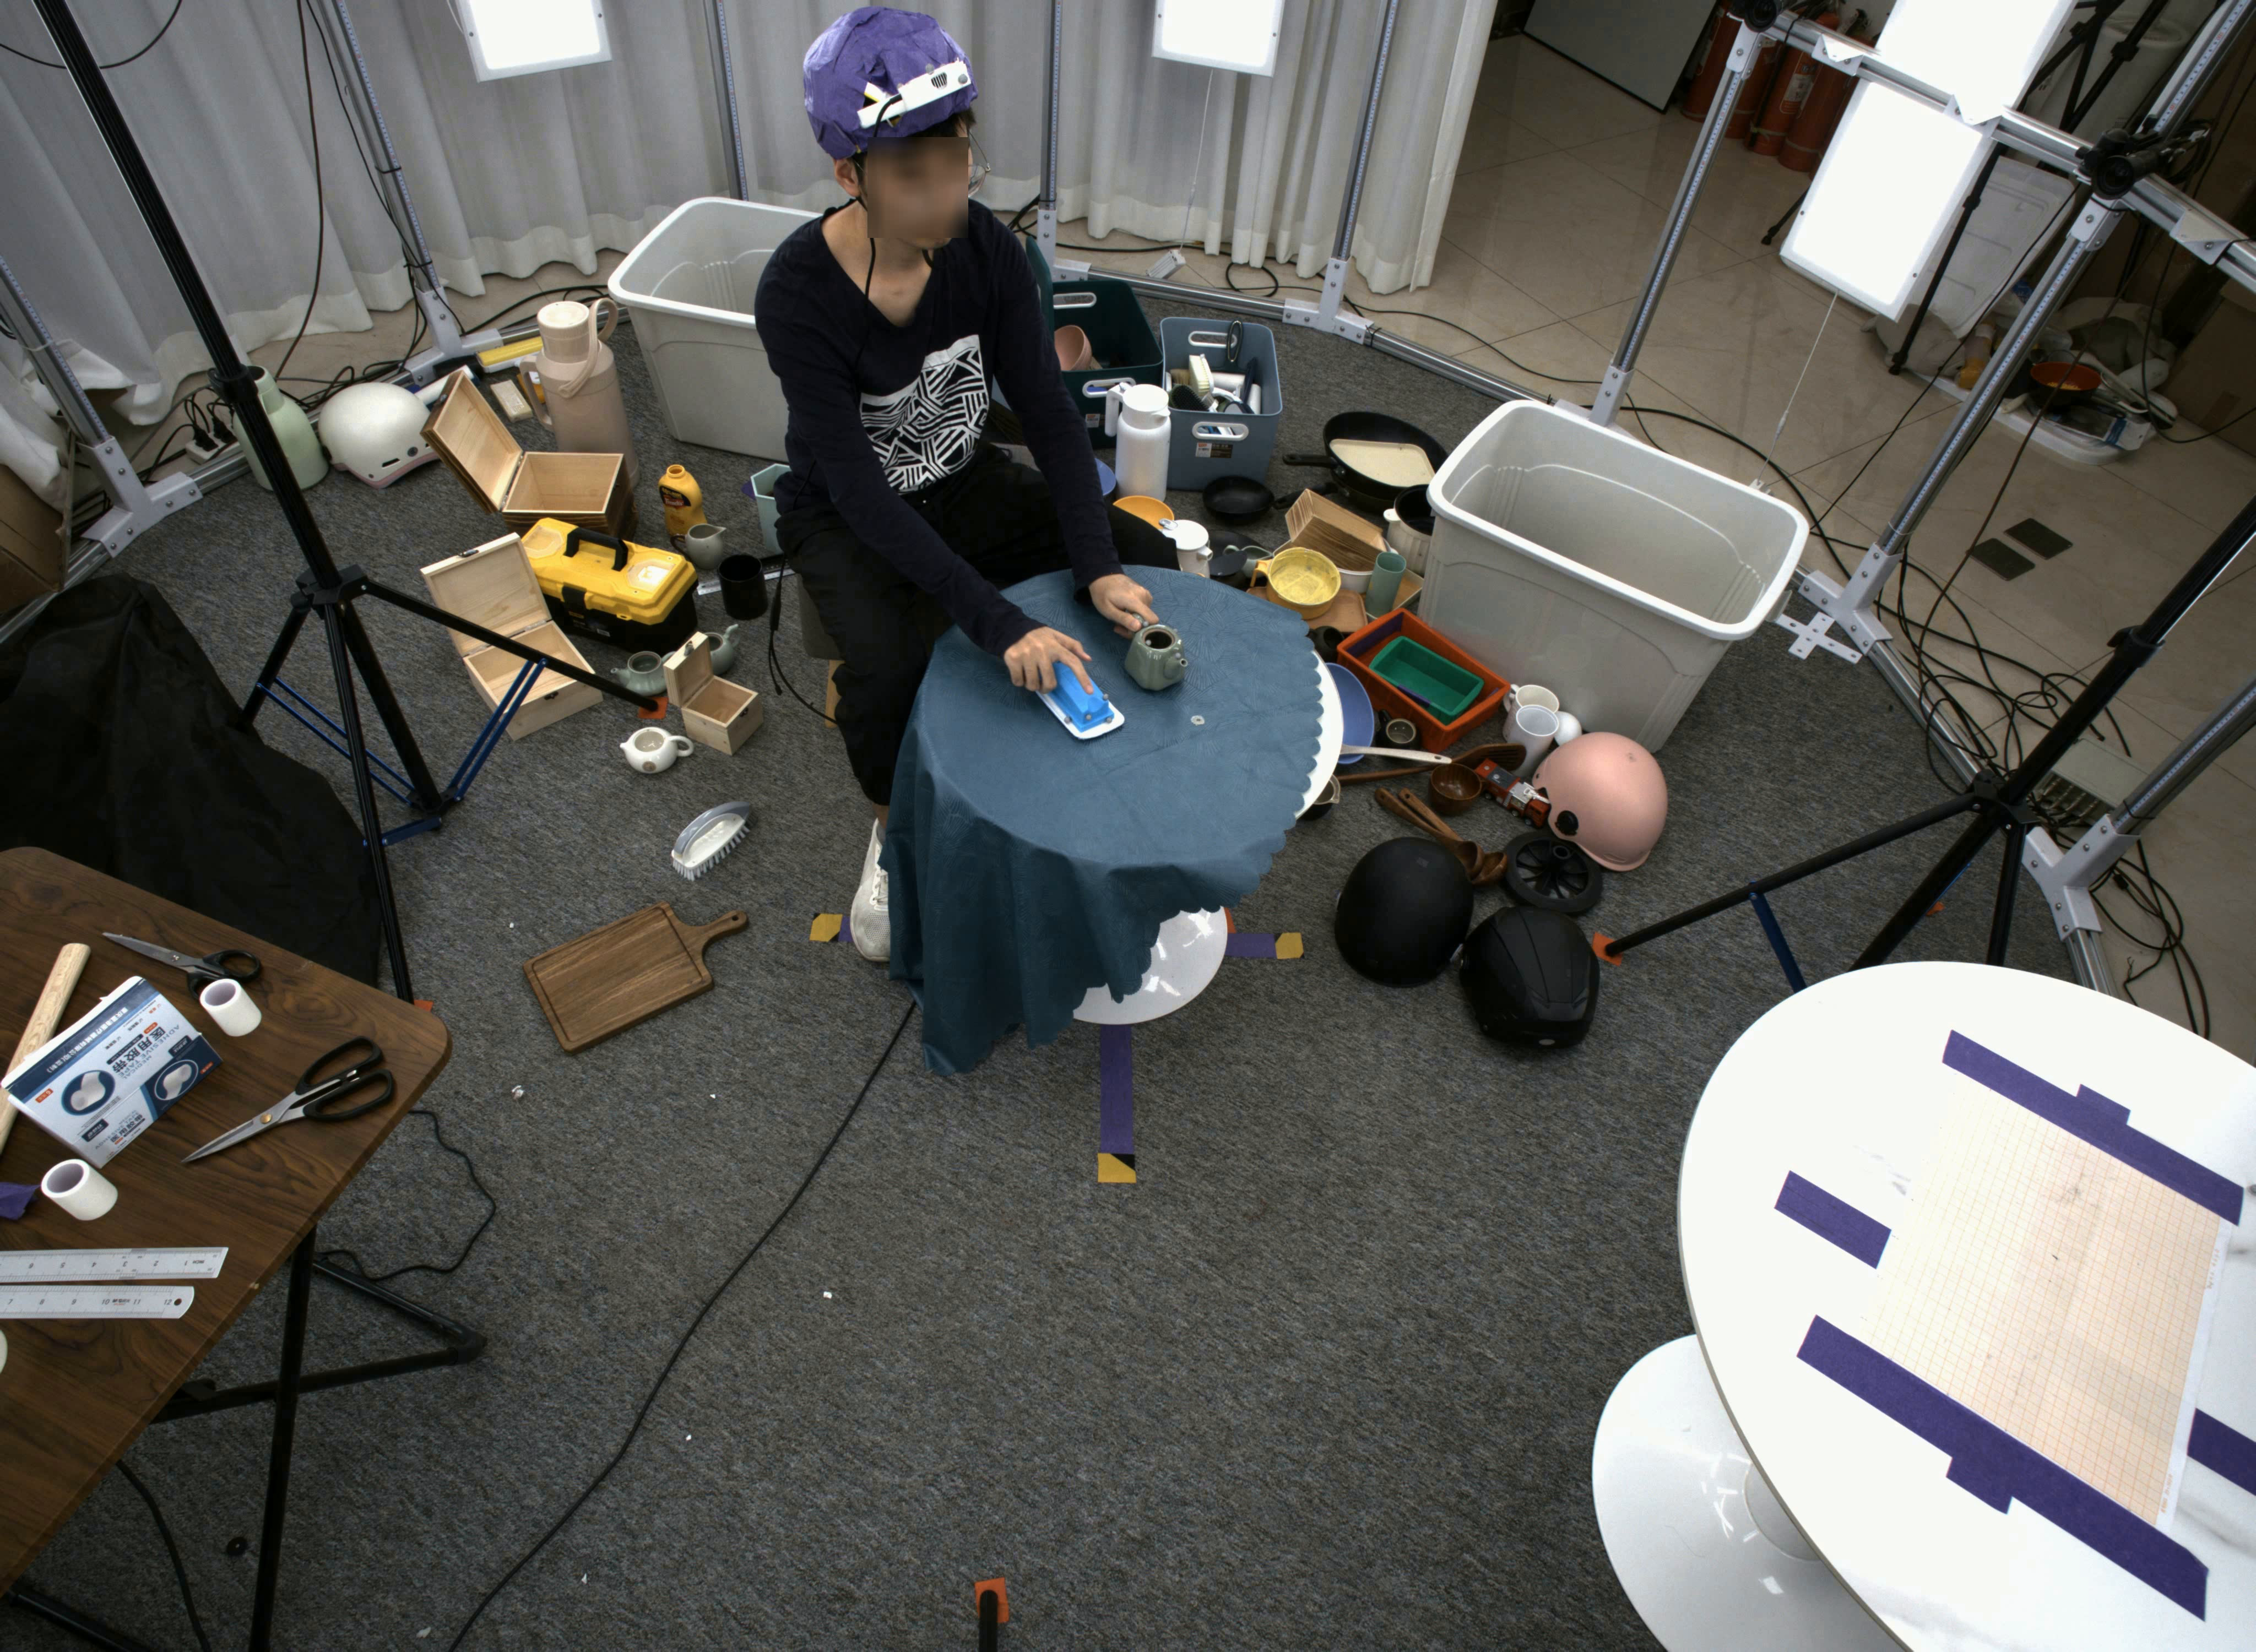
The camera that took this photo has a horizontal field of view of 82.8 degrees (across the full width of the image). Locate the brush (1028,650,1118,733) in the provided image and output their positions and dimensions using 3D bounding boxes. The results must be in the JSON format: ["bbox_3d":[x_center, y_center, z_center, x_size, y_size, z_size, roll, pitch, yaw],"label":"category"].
[{"bbox_3d":[-0.075,-0.194,1.792,0.084,0.054,0.147,-20,55,-24],"label":"brush"}]

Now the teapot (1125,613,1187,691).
[{"bbox_3d":[0.042,-0.244,1.835,0.080,0.073,0.135,-25,54,-24],"label":"teapot"}]
